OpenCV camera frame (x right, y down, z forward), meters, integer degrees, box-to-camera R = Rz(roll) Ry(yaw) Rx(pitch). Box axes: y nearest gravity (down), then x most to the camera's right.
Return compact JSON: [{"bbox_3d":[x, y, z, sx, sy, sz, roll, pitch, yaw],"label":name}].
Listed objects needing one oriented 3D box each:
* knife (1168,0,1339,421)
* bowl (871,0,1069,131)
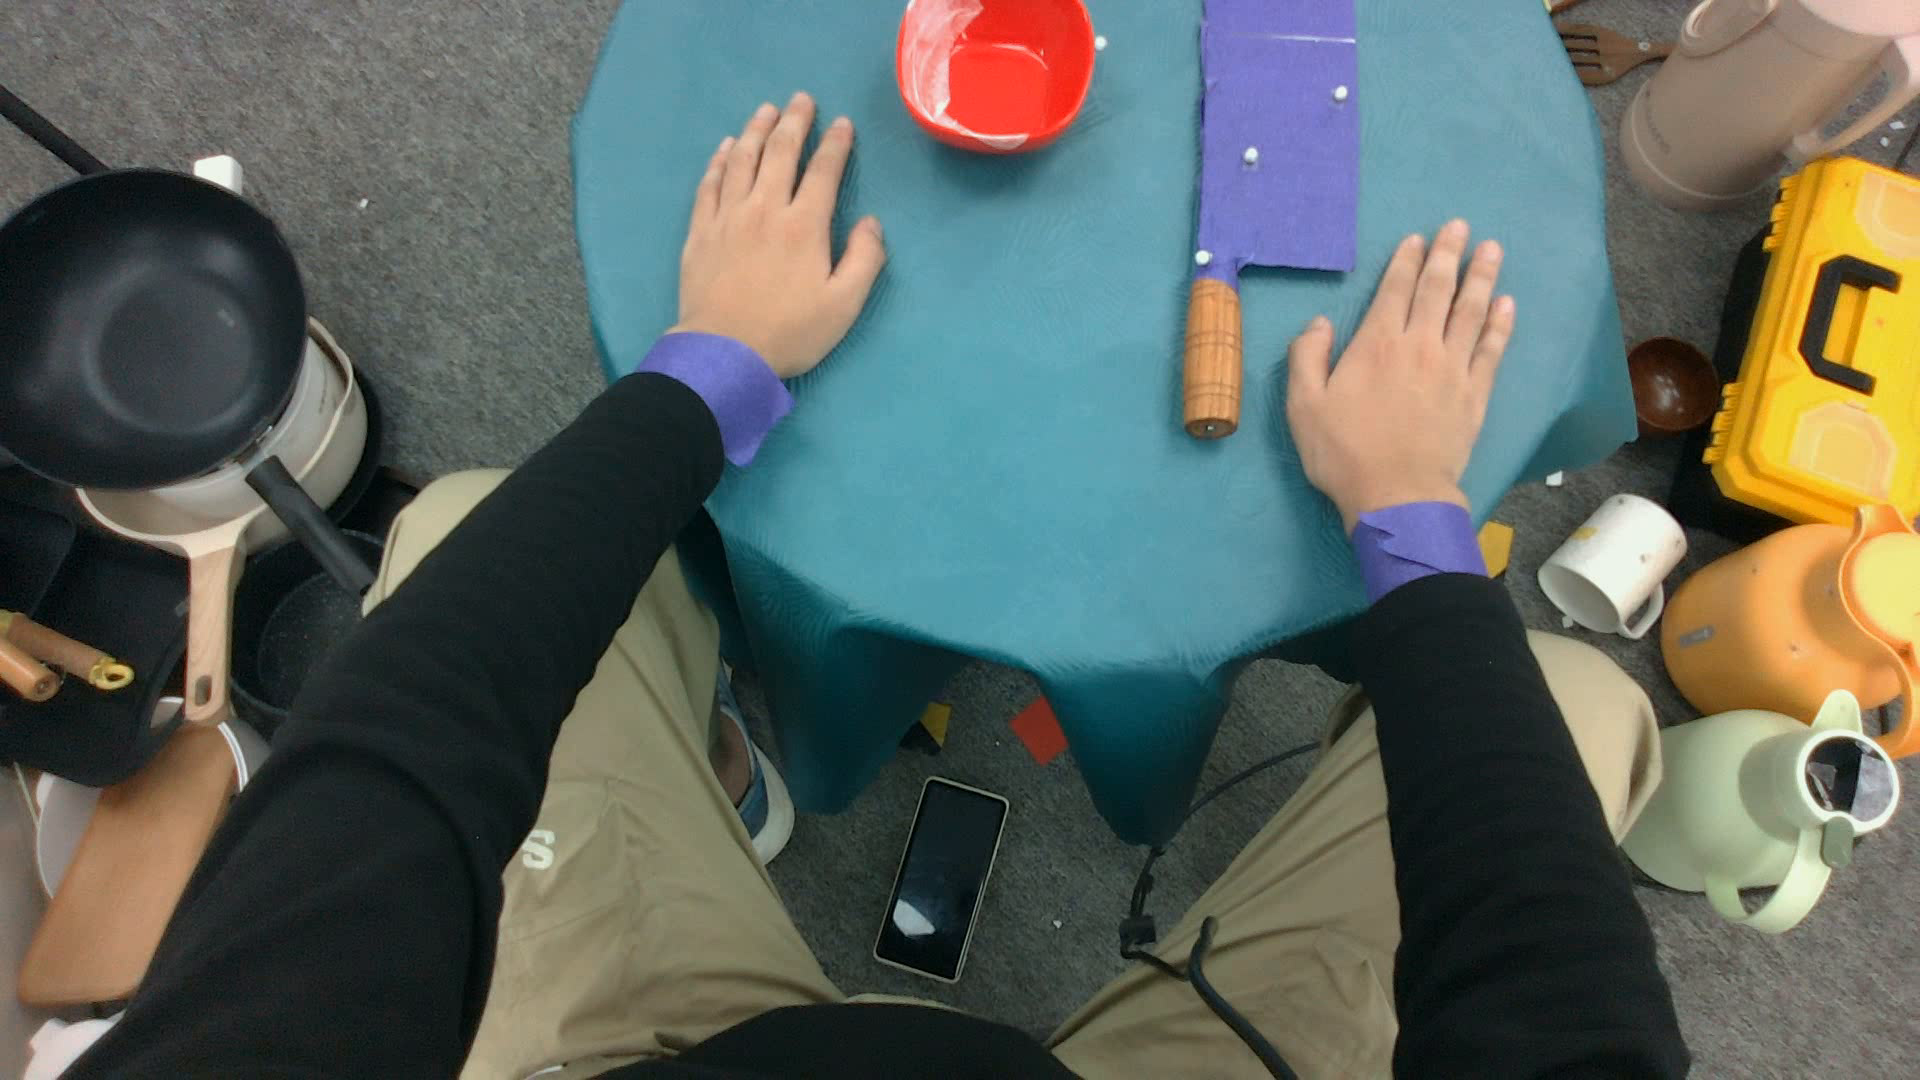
[{"bbox_3d":[0.167,-0.218,0.791,0.104,0.032,0.316,3,73,0],"label":"knife"},{"bbox_3d":[0.005,-0.277,0.787,0.119,0.051,0.119,1,71,-3],"label":"bowl"}]
